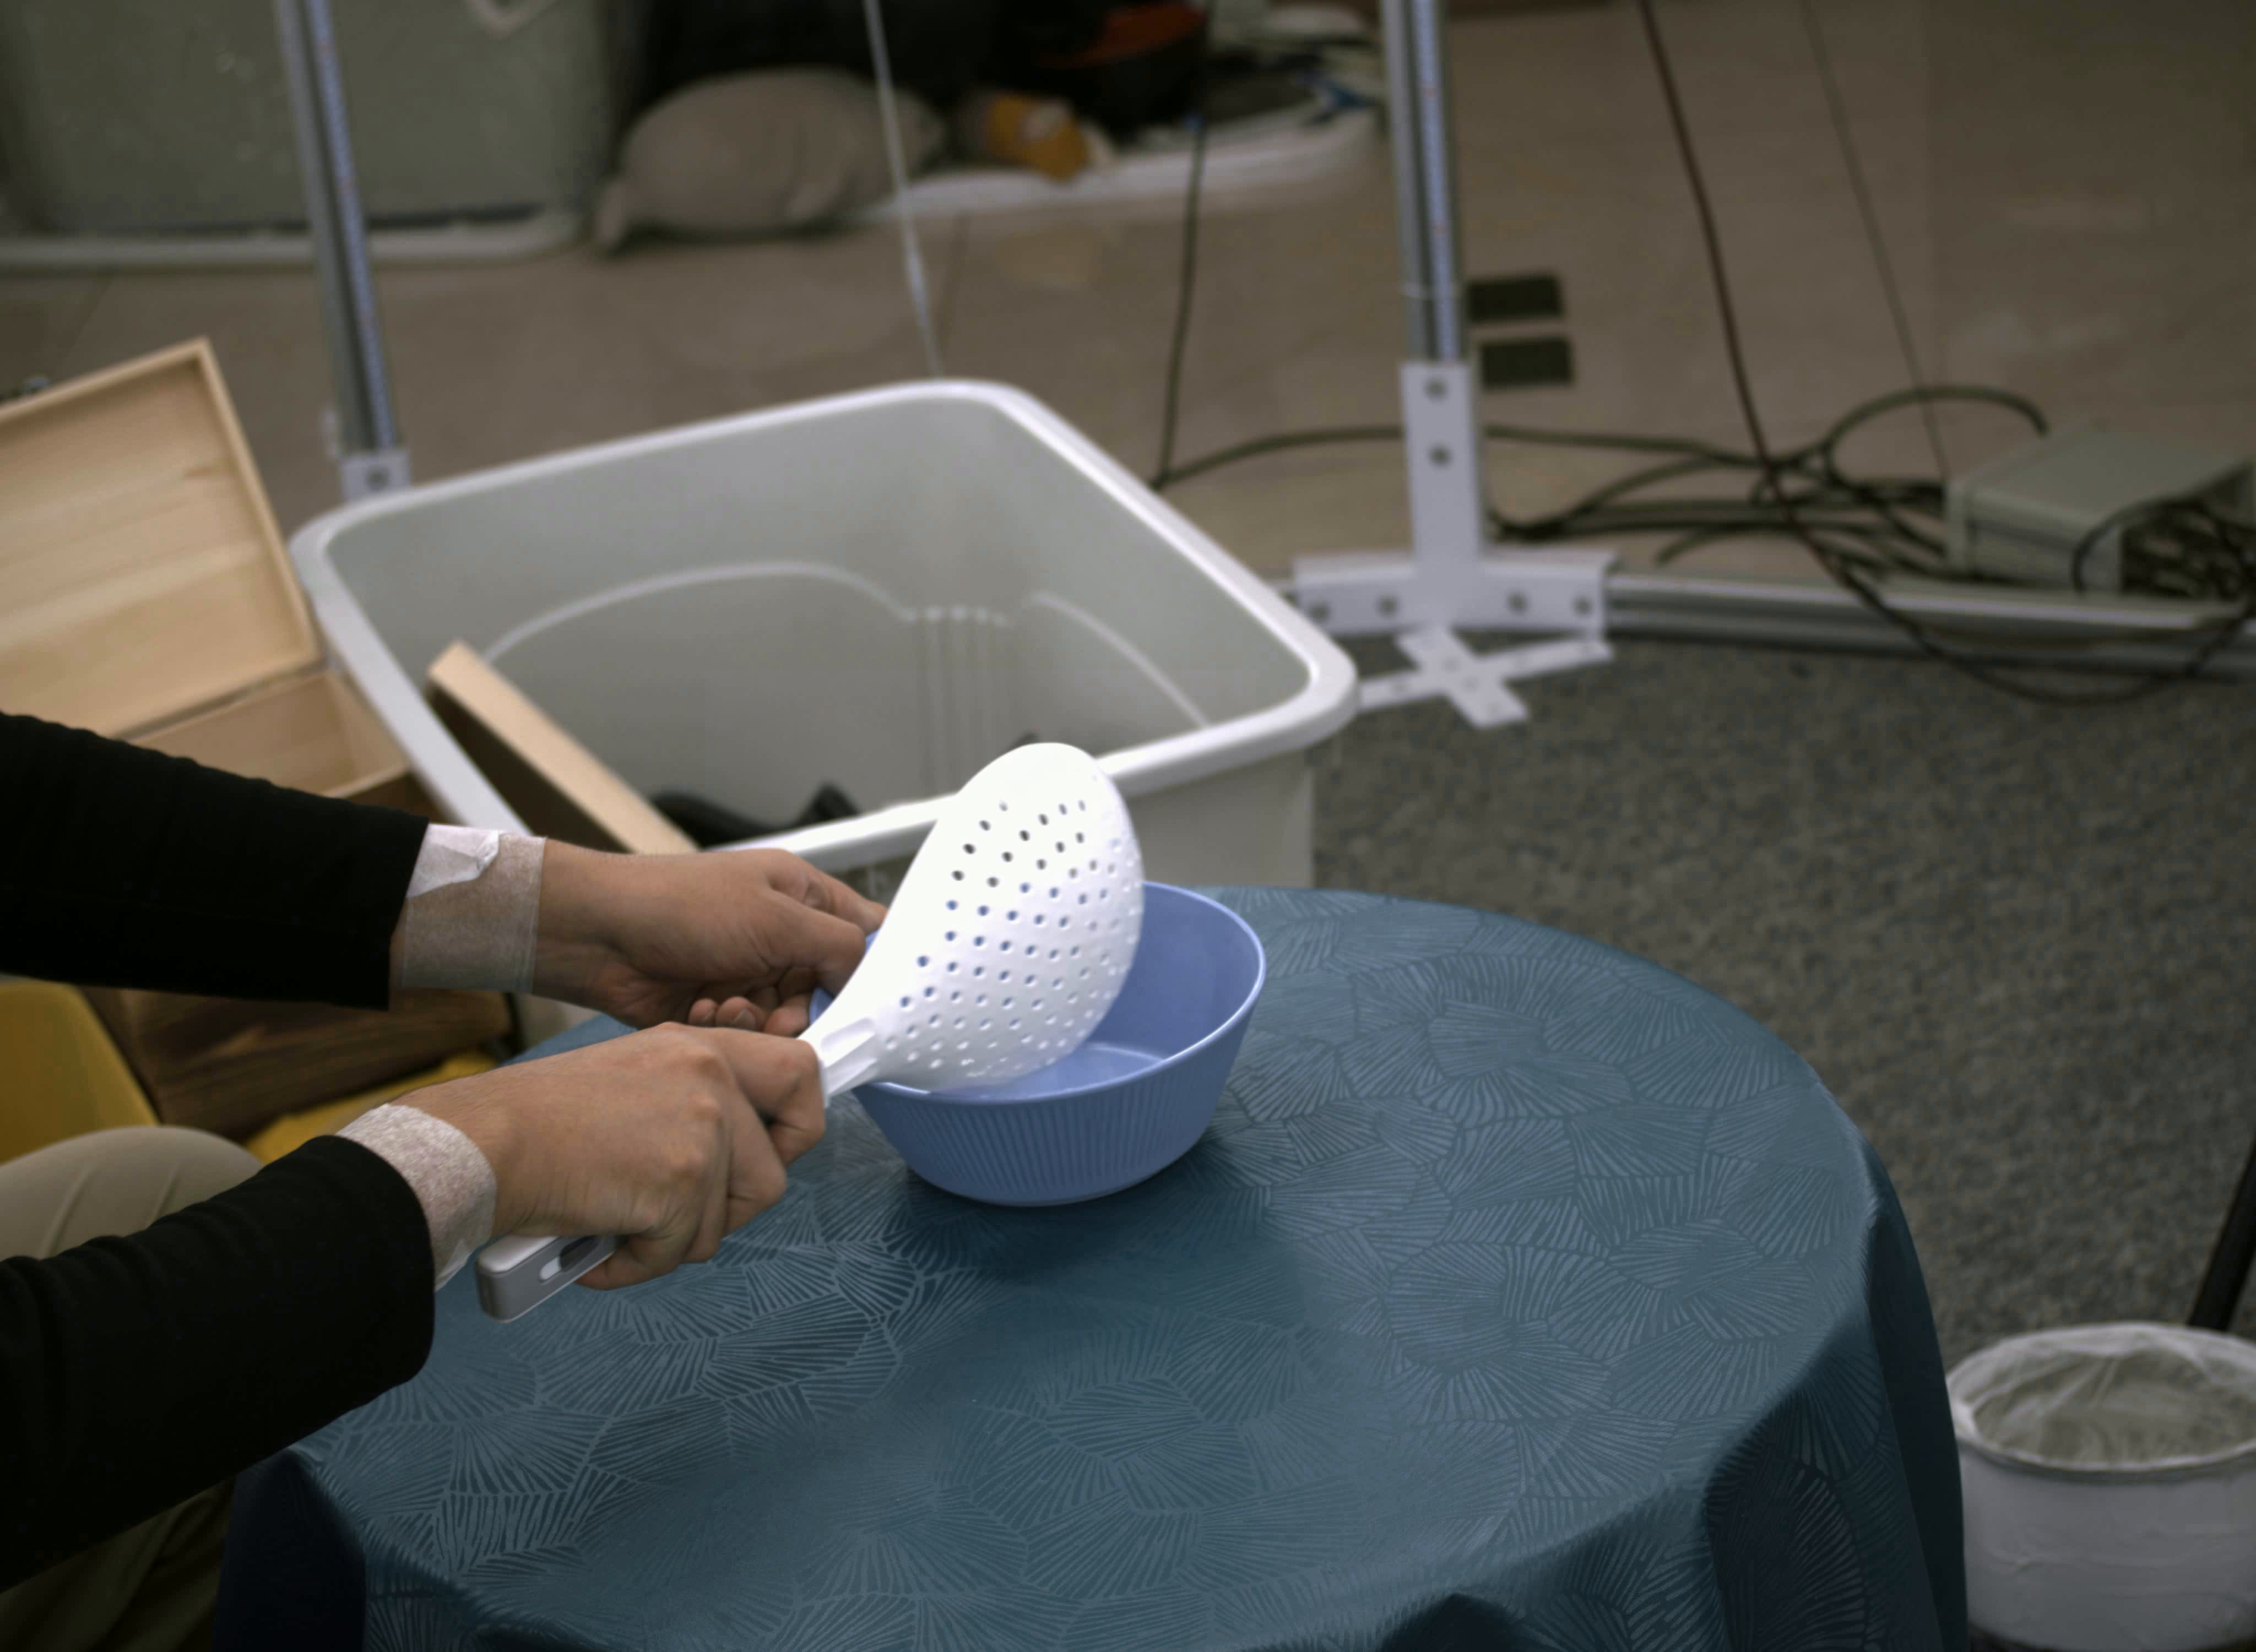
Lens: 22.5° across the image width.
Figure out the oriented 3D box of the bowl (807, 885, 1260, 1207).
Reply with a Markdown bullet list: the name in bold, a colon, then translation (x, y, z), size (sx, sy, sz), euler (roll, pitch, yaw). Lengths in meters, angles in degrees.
- **bowl**: translation (-0.032, 0.090, 2.175), size (0.176, 0.071, 0.173), euler (-7, 27, 4)

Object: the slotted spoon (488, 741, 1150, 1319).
- **slotted spoon**: translation (-0.103, 0.082, 2.033), size (0.045, 0.138, 0.346), euler (23, 40, 40)
